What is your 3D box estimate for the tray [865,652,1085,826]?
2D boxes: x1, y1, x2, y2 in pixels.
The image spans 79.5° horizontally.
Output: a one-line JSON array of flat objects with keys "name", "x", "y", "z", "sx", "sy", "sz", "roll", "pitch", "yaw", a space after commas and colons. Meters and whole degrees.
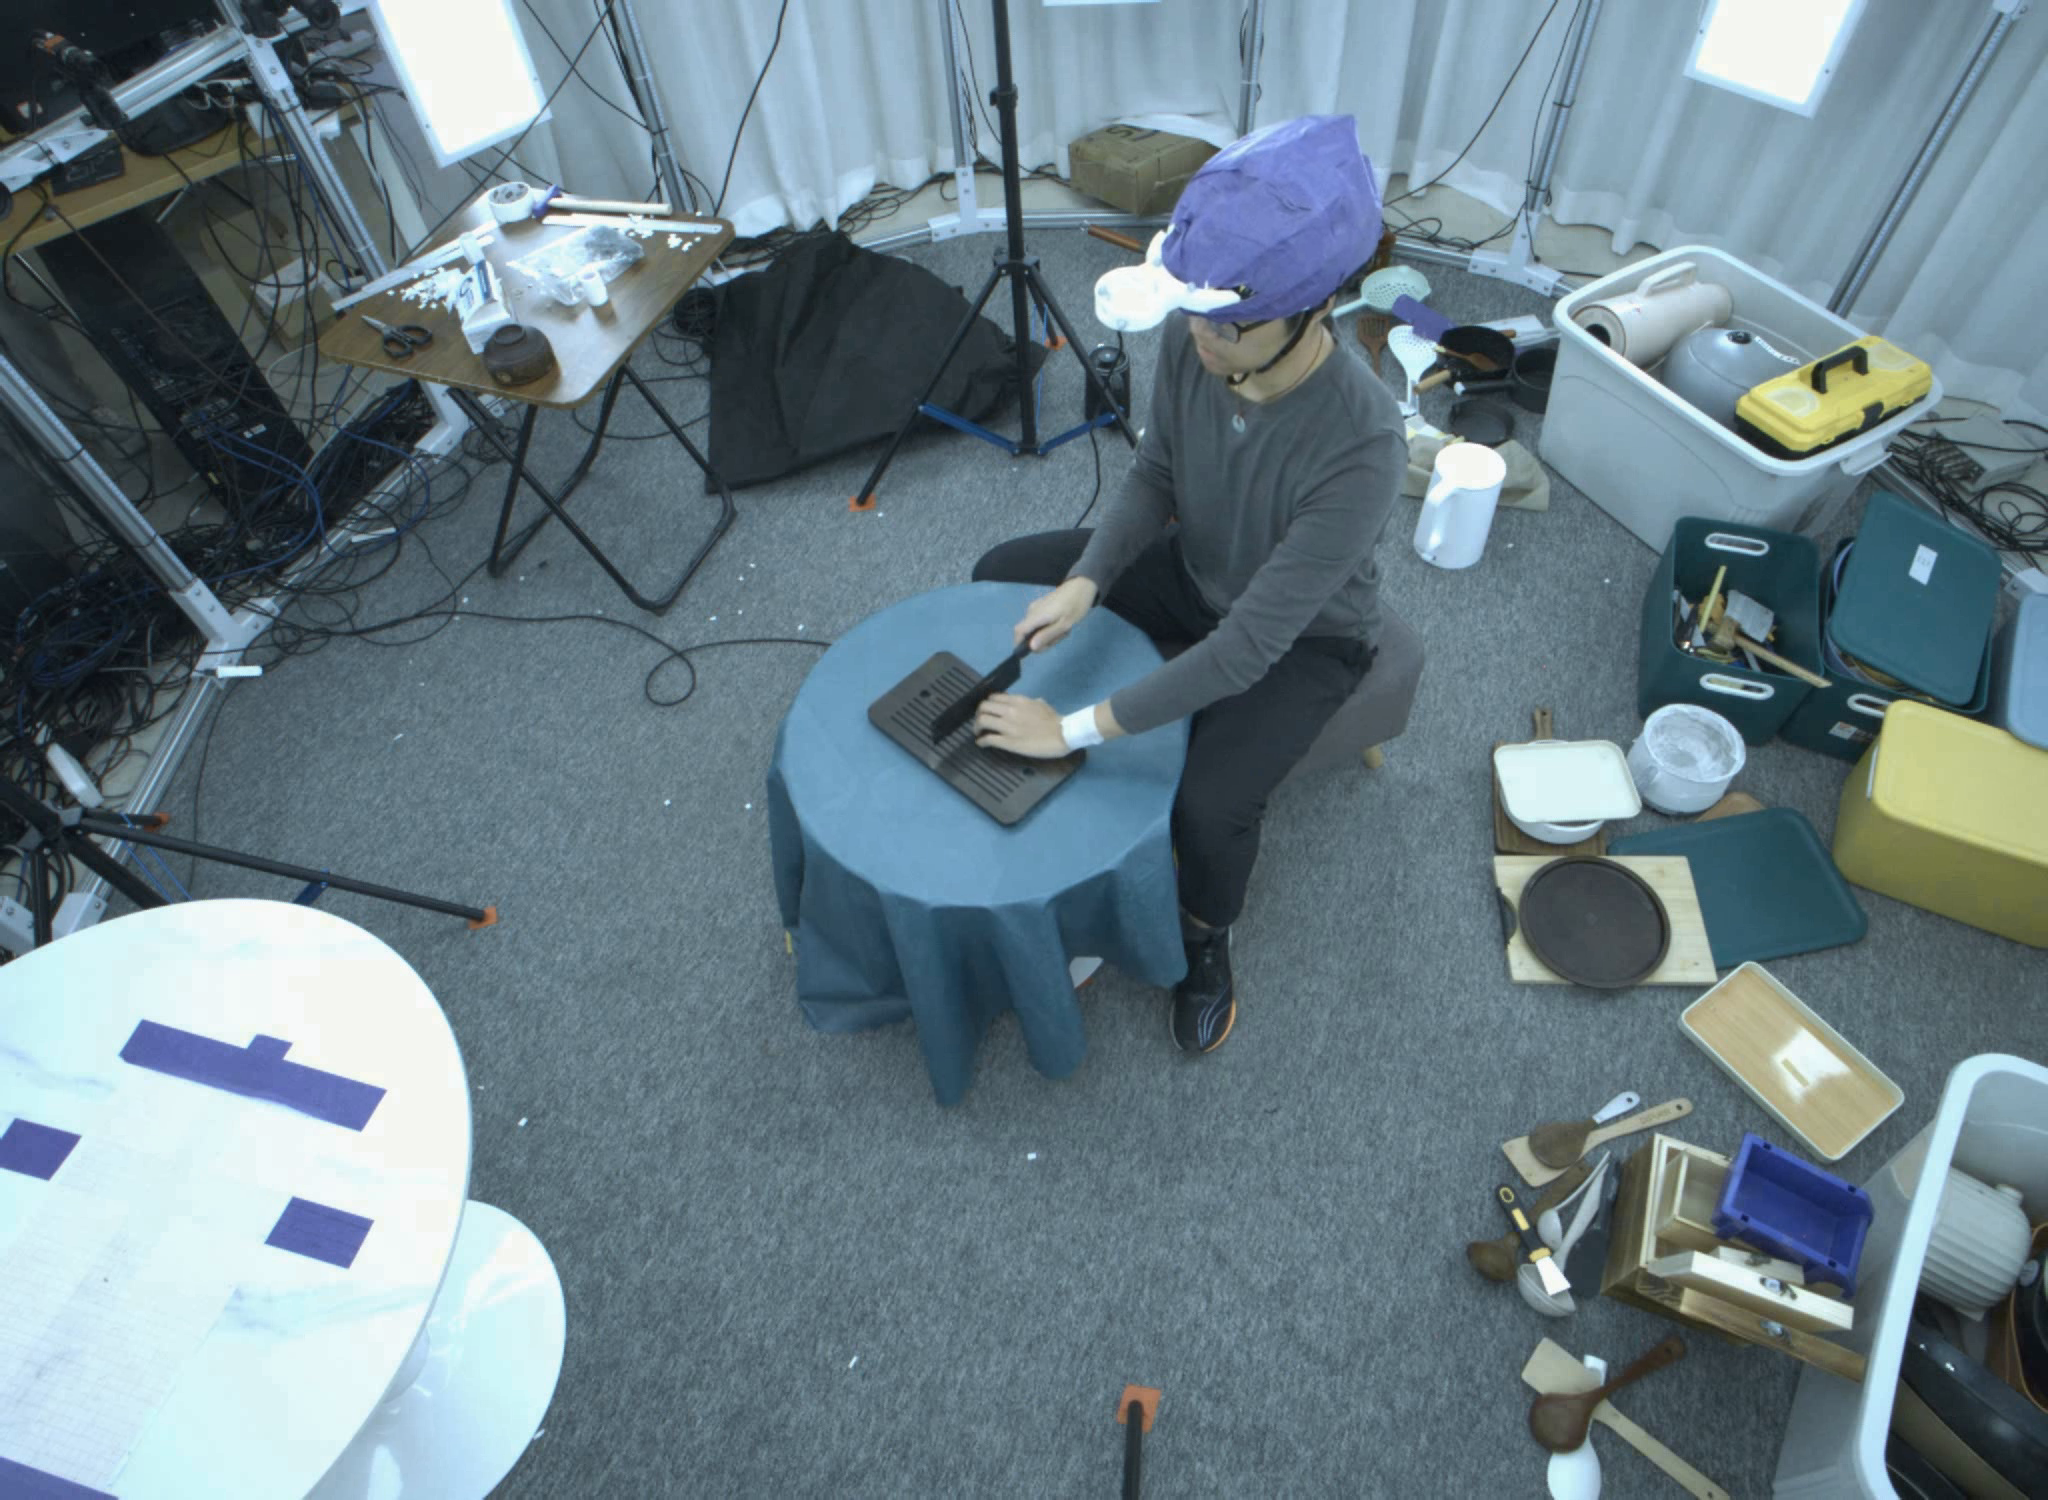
[{"name": "tray", "x": -0.074, "y": -0.020, "z": 1.800, "sx": 0.300, "sy": 0.019, "sz": 0.171, "roll": 37, "pitch": 62, "yaw": 24}]

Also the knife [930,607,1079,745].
[{"name": "knife", "x": -0.027, "y": -0.113, "z": 1.787, "sx": 0.020, "sy": 0.082, "sz": 0.304, "roll": 37, "pitch": 66, "yaw": 24}]
